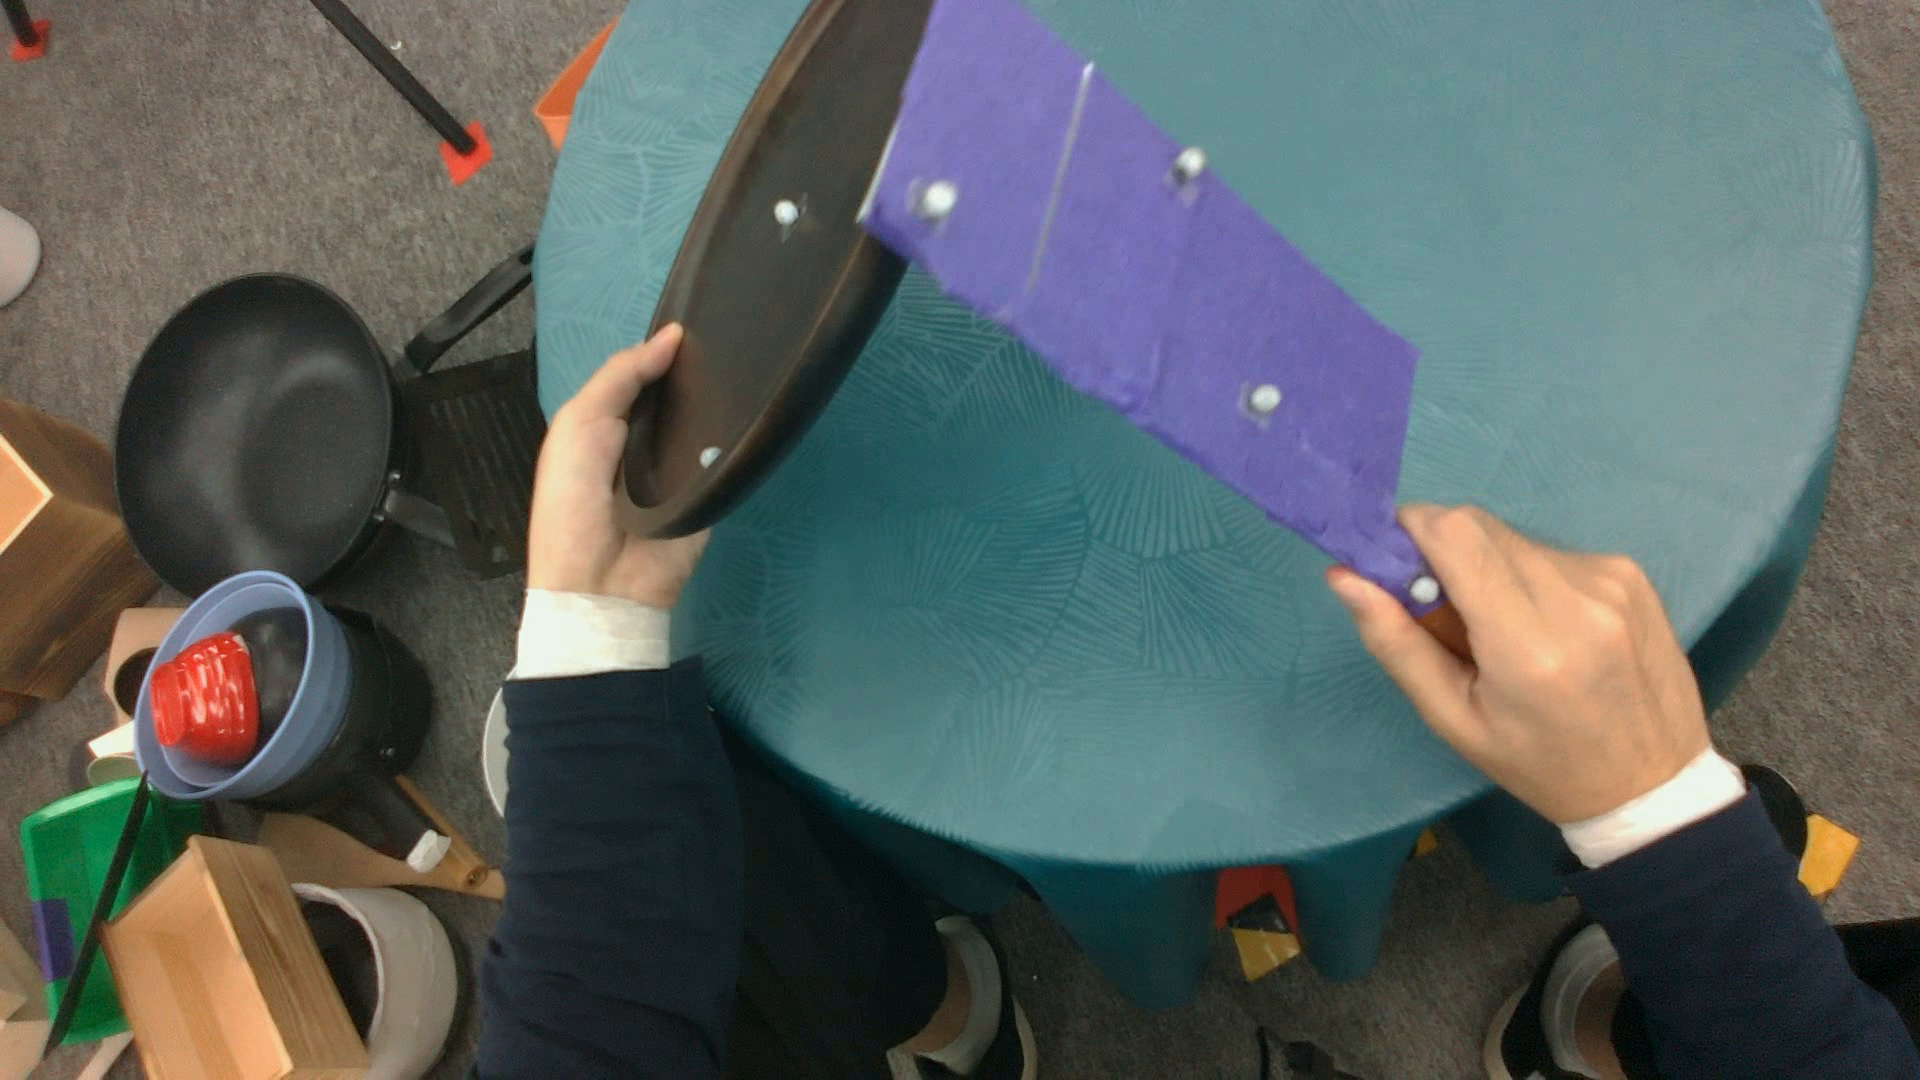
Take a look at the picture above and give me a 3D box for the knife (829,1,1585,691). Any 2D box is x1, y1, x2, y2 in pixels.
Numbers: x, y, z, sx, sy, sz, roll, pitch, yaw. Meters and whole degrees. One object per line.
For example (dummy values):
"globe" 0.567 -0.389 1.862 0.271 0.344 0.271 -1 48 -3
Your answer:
"knife" 0.100 -0.050 0.426 0.032 0.315 0.104 -15 53 51

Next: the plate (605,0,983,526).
"plate" -0.068 -0.121 0.507 0.029 0.254 0.255 26 78 -27
